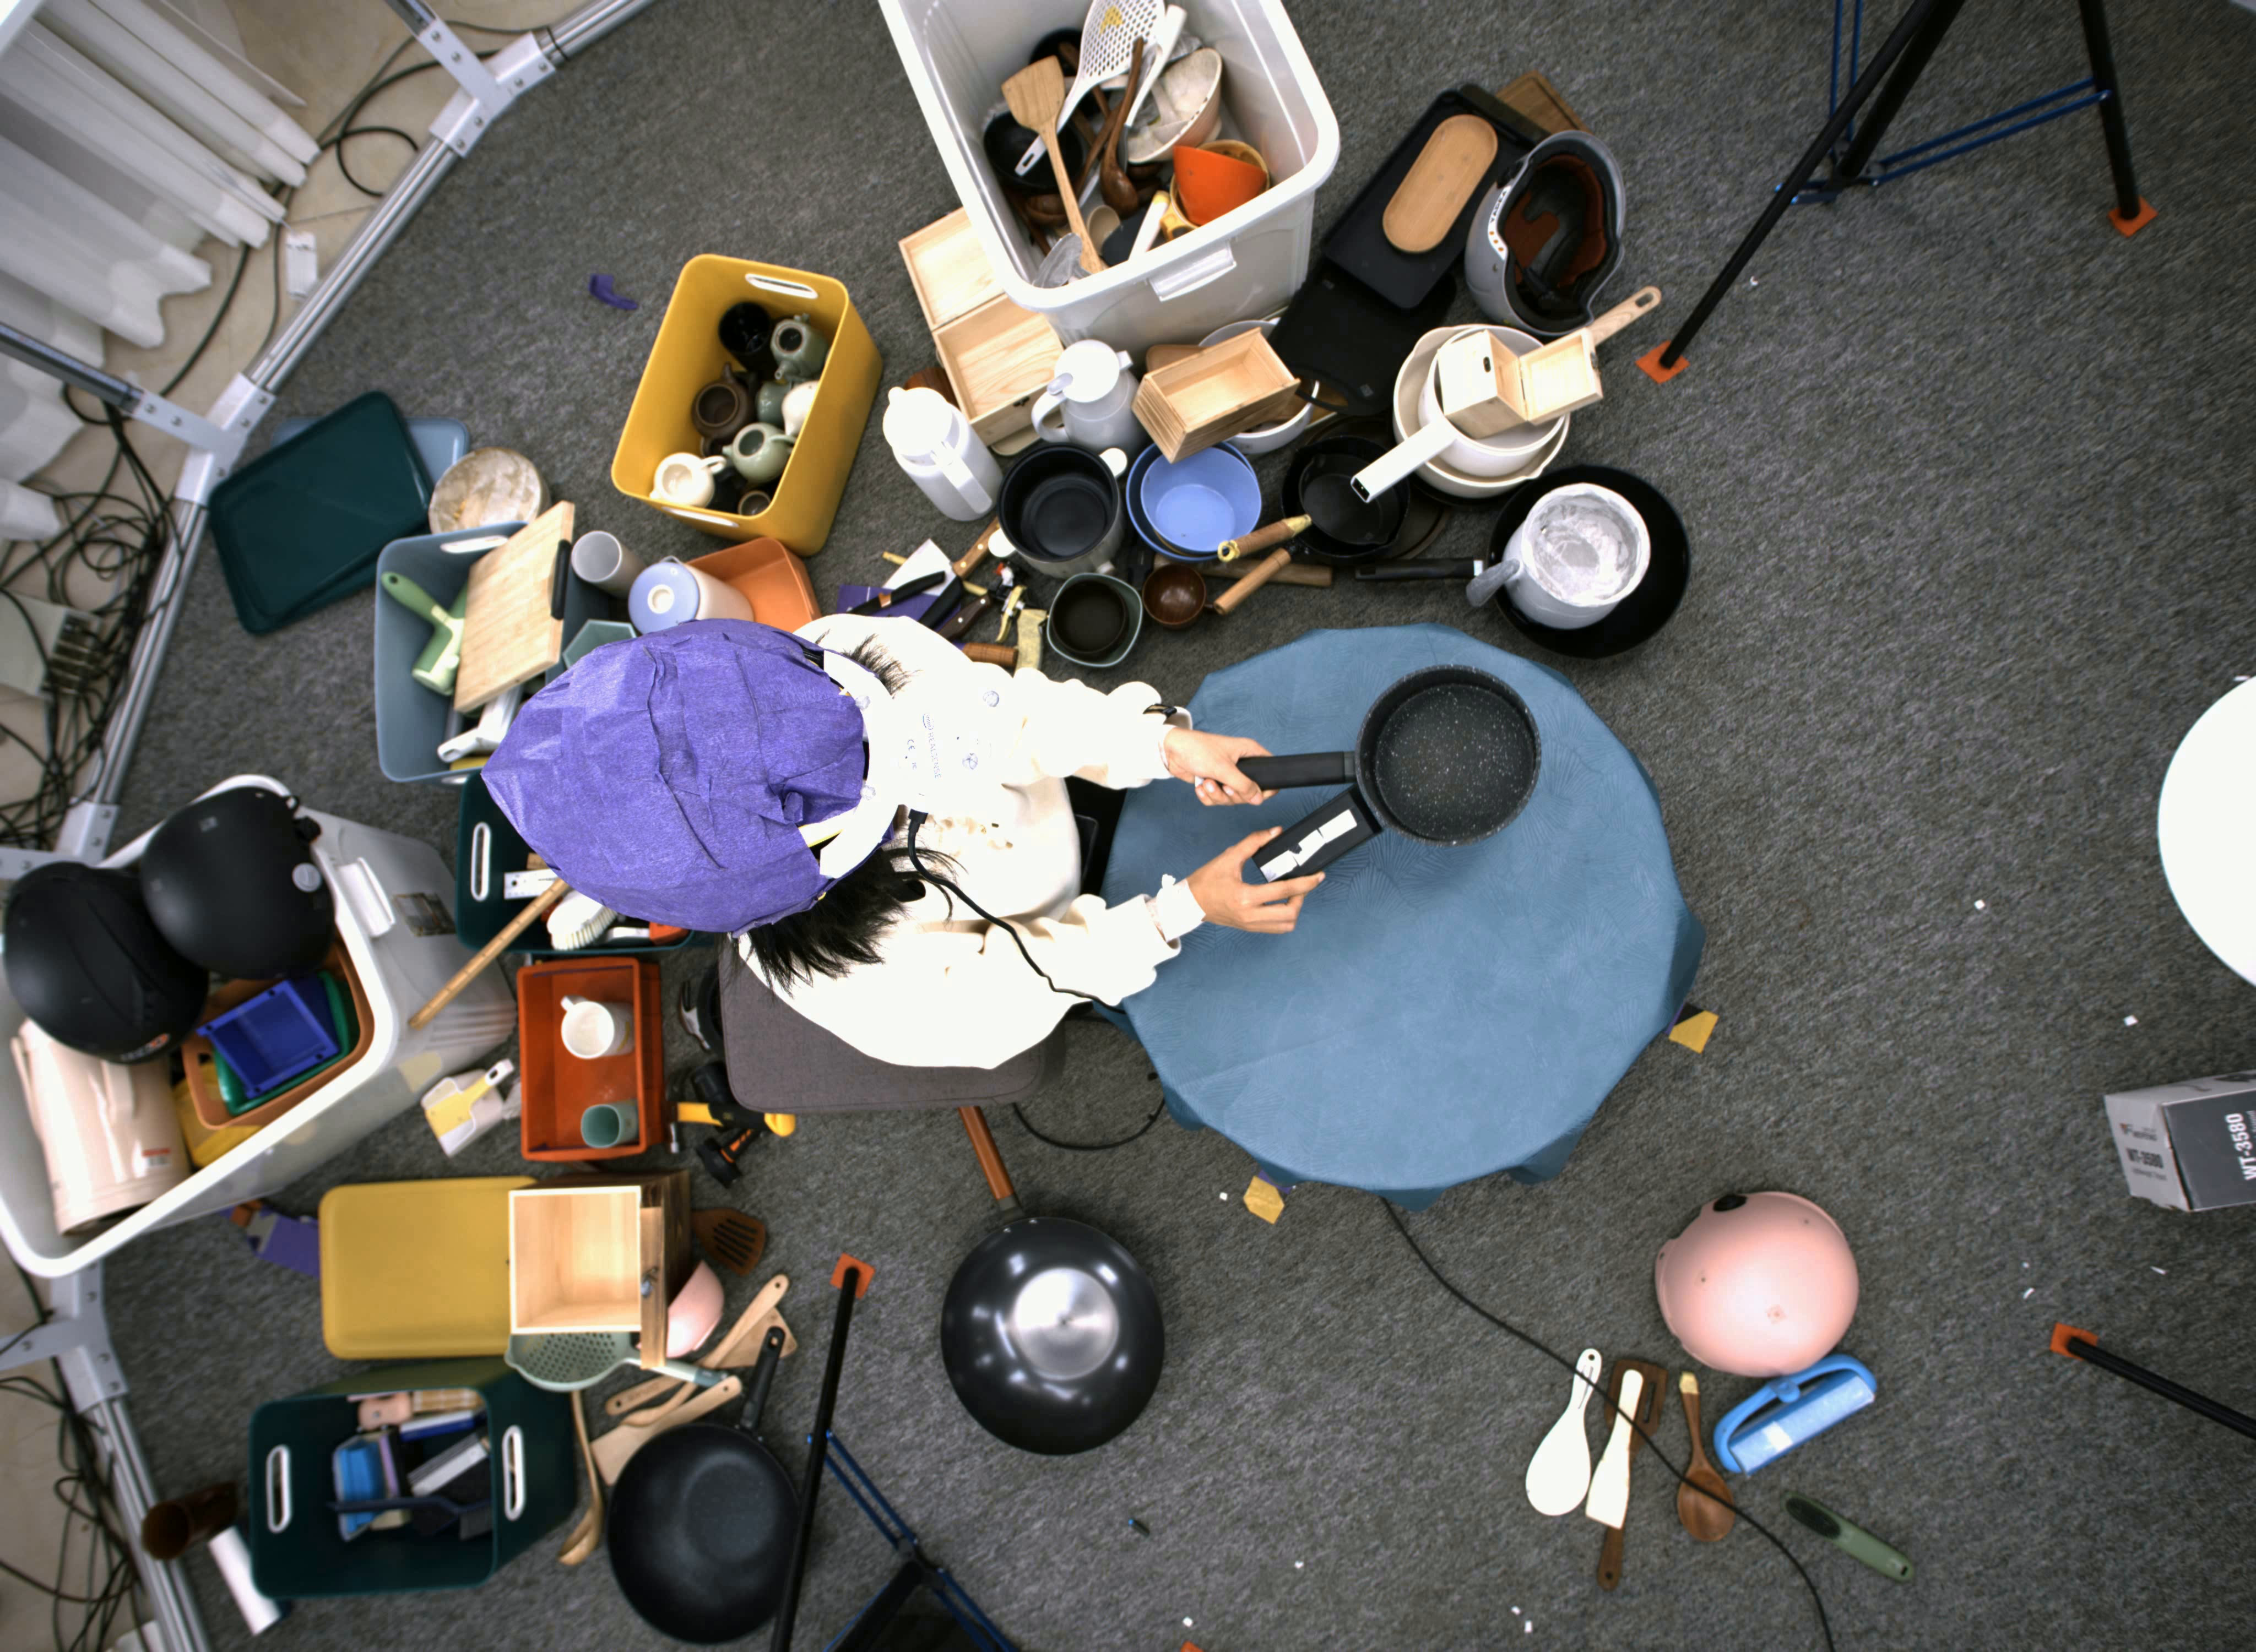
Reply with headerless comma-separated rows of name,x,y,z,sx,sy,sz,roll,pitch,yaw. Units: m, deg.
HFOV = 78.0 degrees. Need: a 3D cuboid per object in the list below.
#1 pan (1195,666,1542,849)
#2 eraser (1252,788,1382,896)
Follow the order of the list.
pan,0.232,-0.061,1.337,0.330,0.086,0.171,-2,89,17
eraser,0.183,0.014,1.342,0.128,0.030,0.053,-35,82,31
